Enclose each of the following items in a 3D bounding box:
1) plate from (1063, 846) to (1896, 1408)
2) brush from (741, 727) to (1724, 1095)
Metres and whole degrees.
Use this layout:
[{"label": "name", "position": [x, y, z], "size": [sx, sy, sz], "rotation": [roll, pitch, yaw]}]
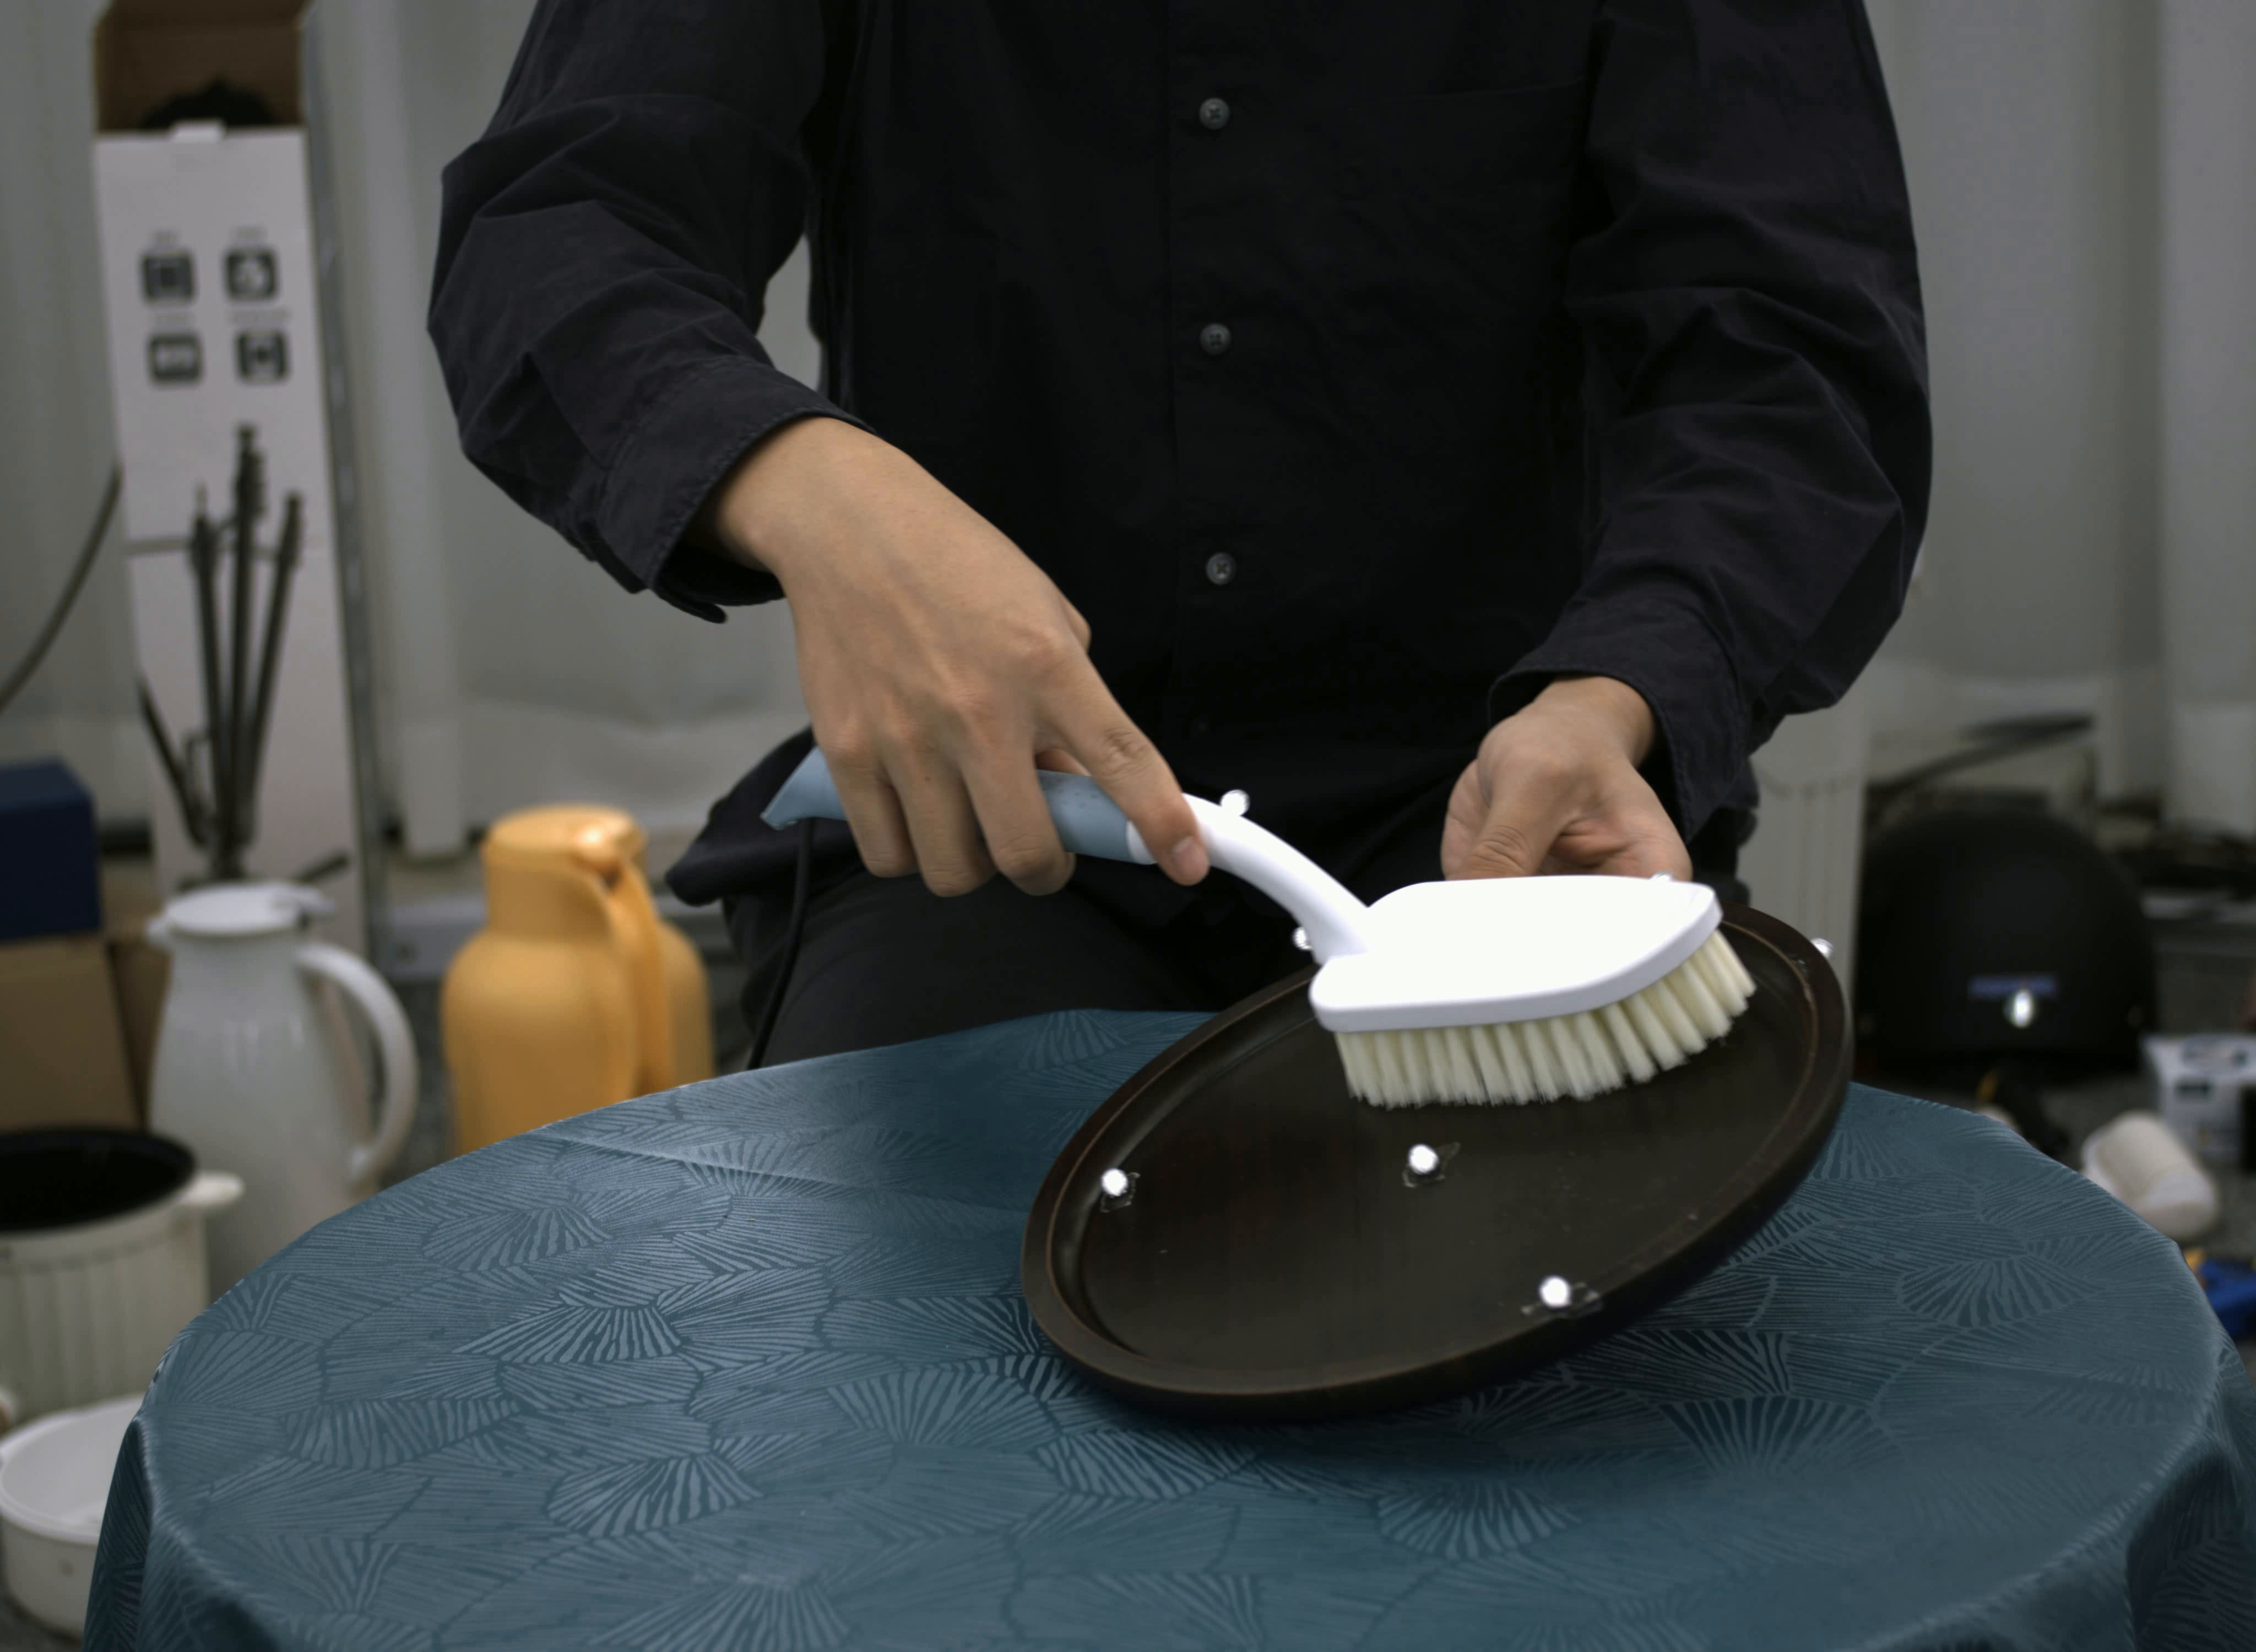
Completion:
[{"label": "plate", "position": [0.102, 0.088, 1.586], "size": [0.254, 0.029, 0.258], "rotation": [-20, 25, 9]}, {"label": "brush", "position": [0.029, 0.031, 1.663], "size": [0.326, 0.085, 0.082], "rotation": [9, -1, 28]}]
